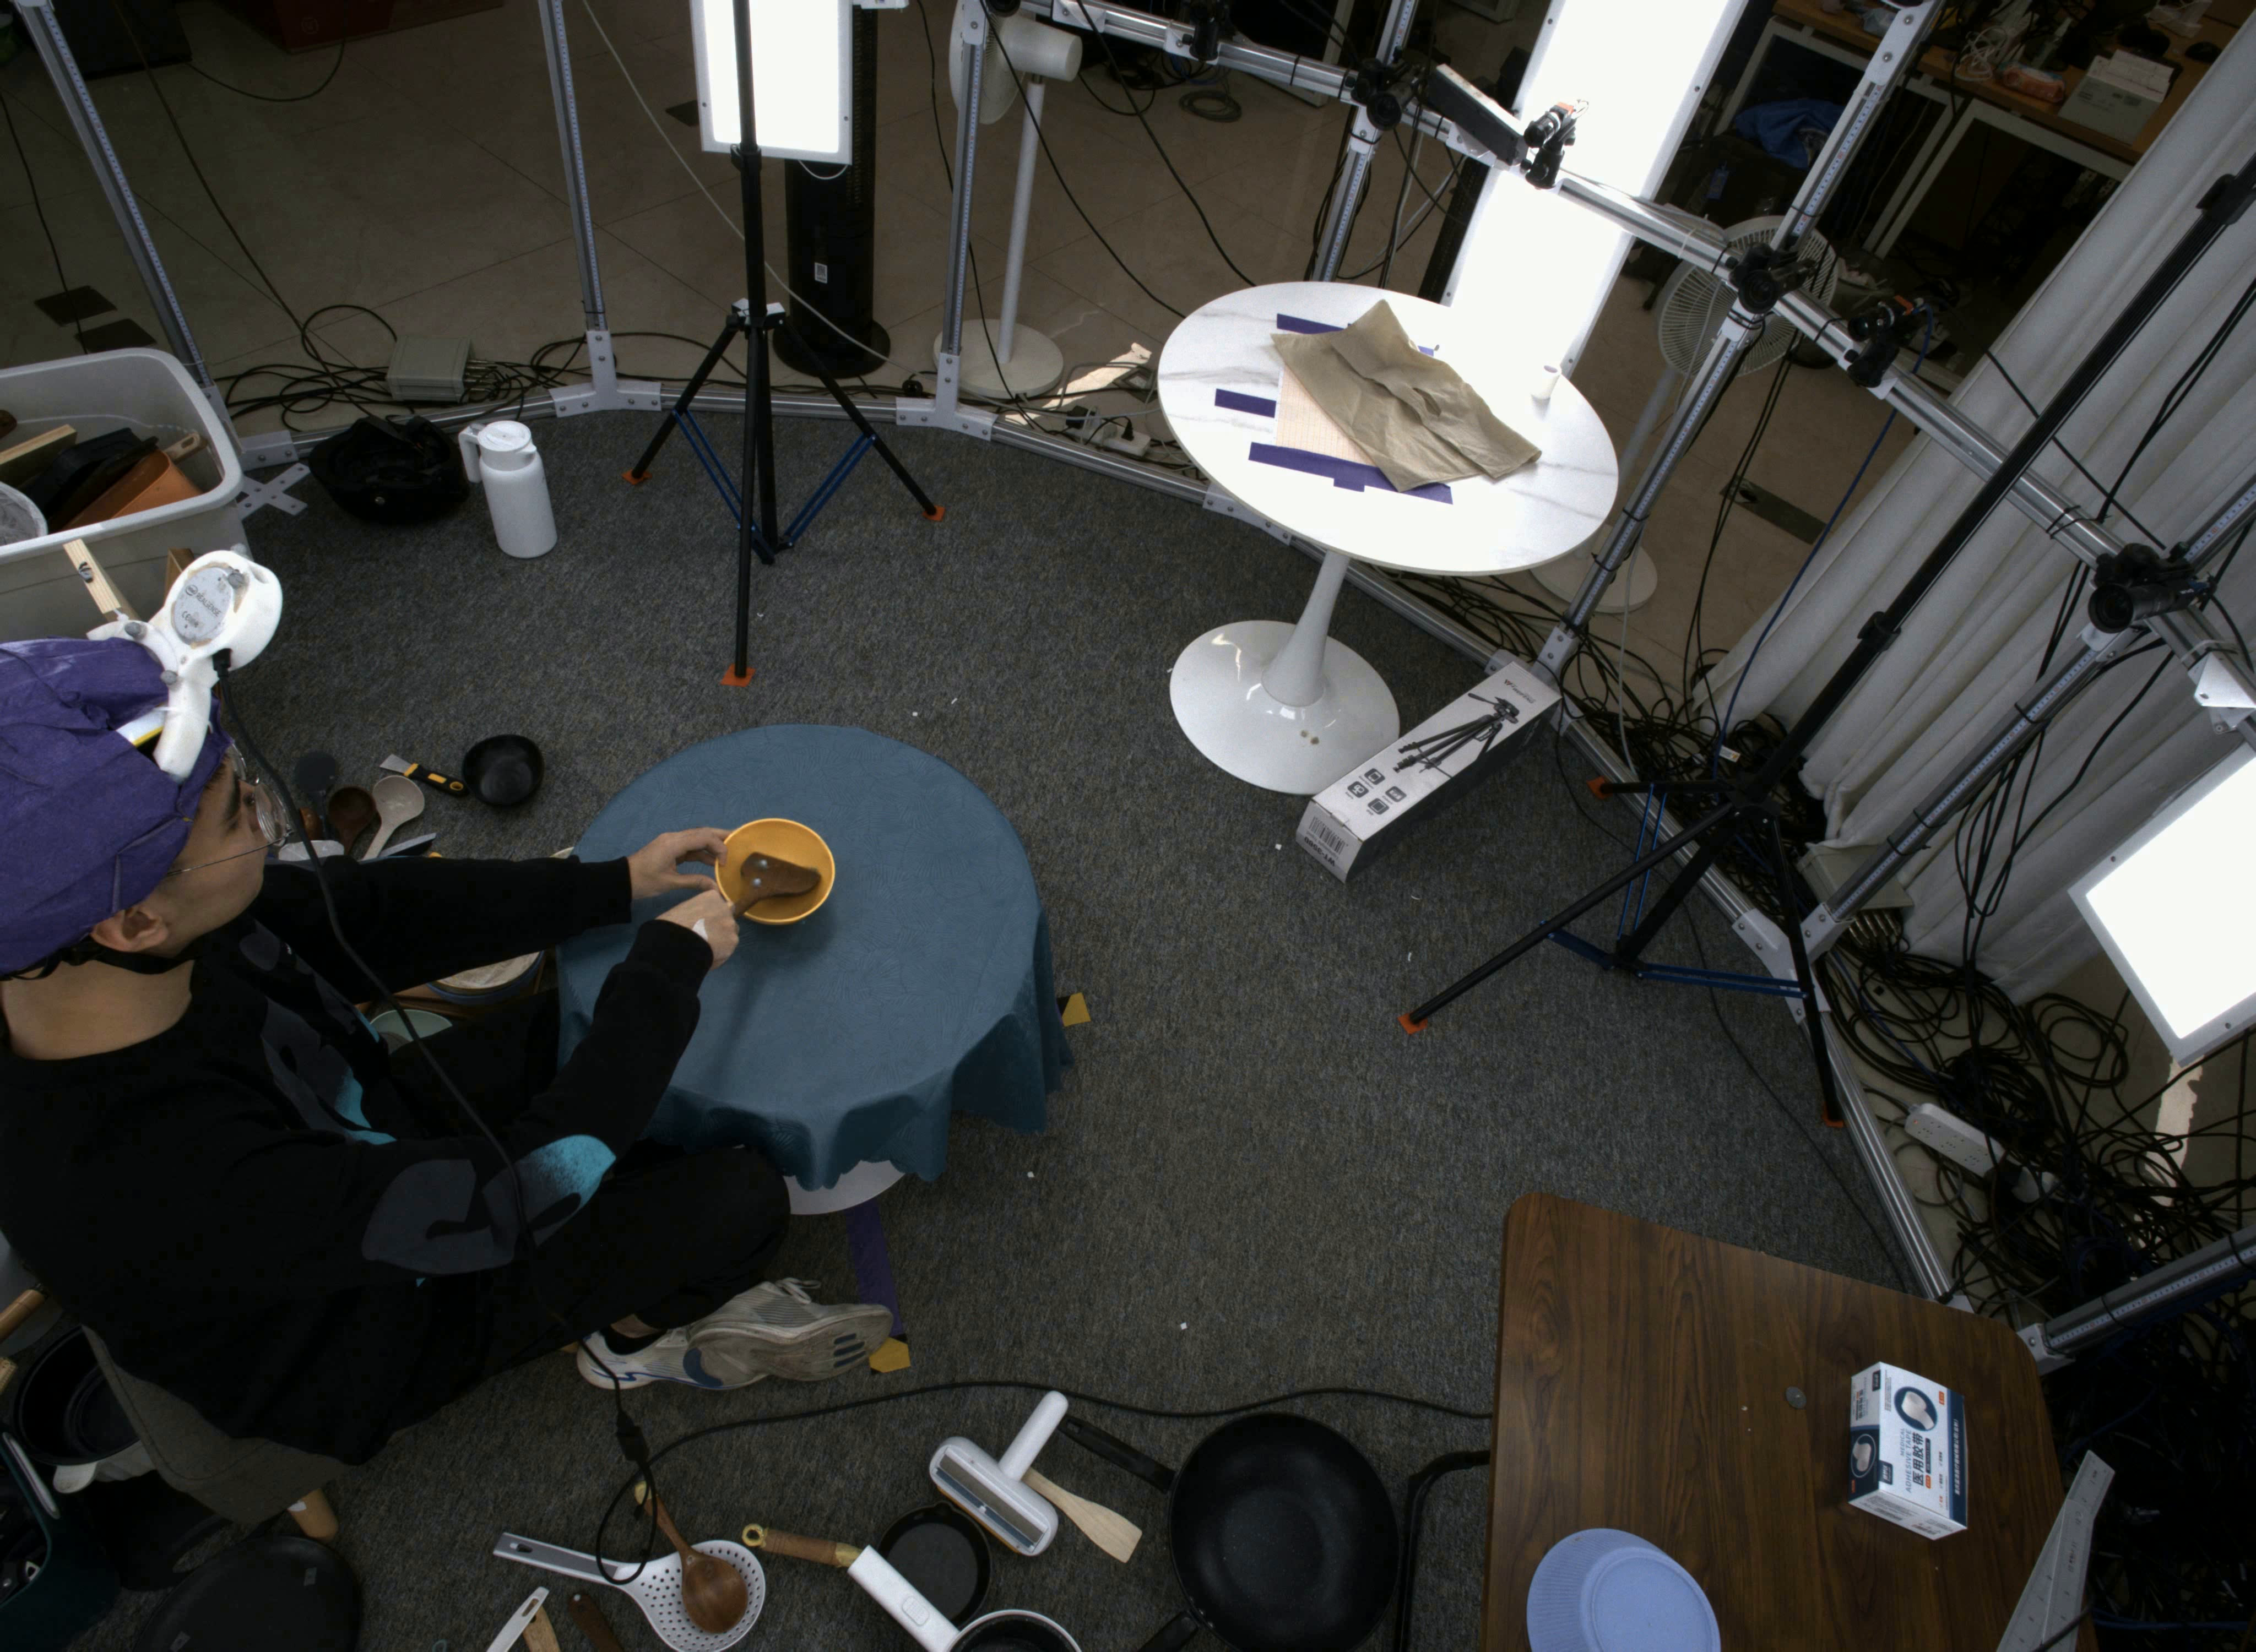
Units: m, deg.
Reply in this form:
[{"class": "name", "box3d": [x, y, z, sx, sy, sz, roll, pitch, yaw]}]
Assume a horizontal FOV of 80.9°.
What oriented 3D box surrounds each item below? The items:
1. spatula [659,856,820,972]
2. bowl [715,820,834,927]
[{"class": "spatula", "box3d": [-0.445, 0.094, 1.462, 0.095, 0.016, 0.382, 19, 13, -1]}, {"class": "bowl", "box3d": [-0.439, 0.068, 1.614, 0.145, 0.061, 0.143, 8, 58, -12]}]
